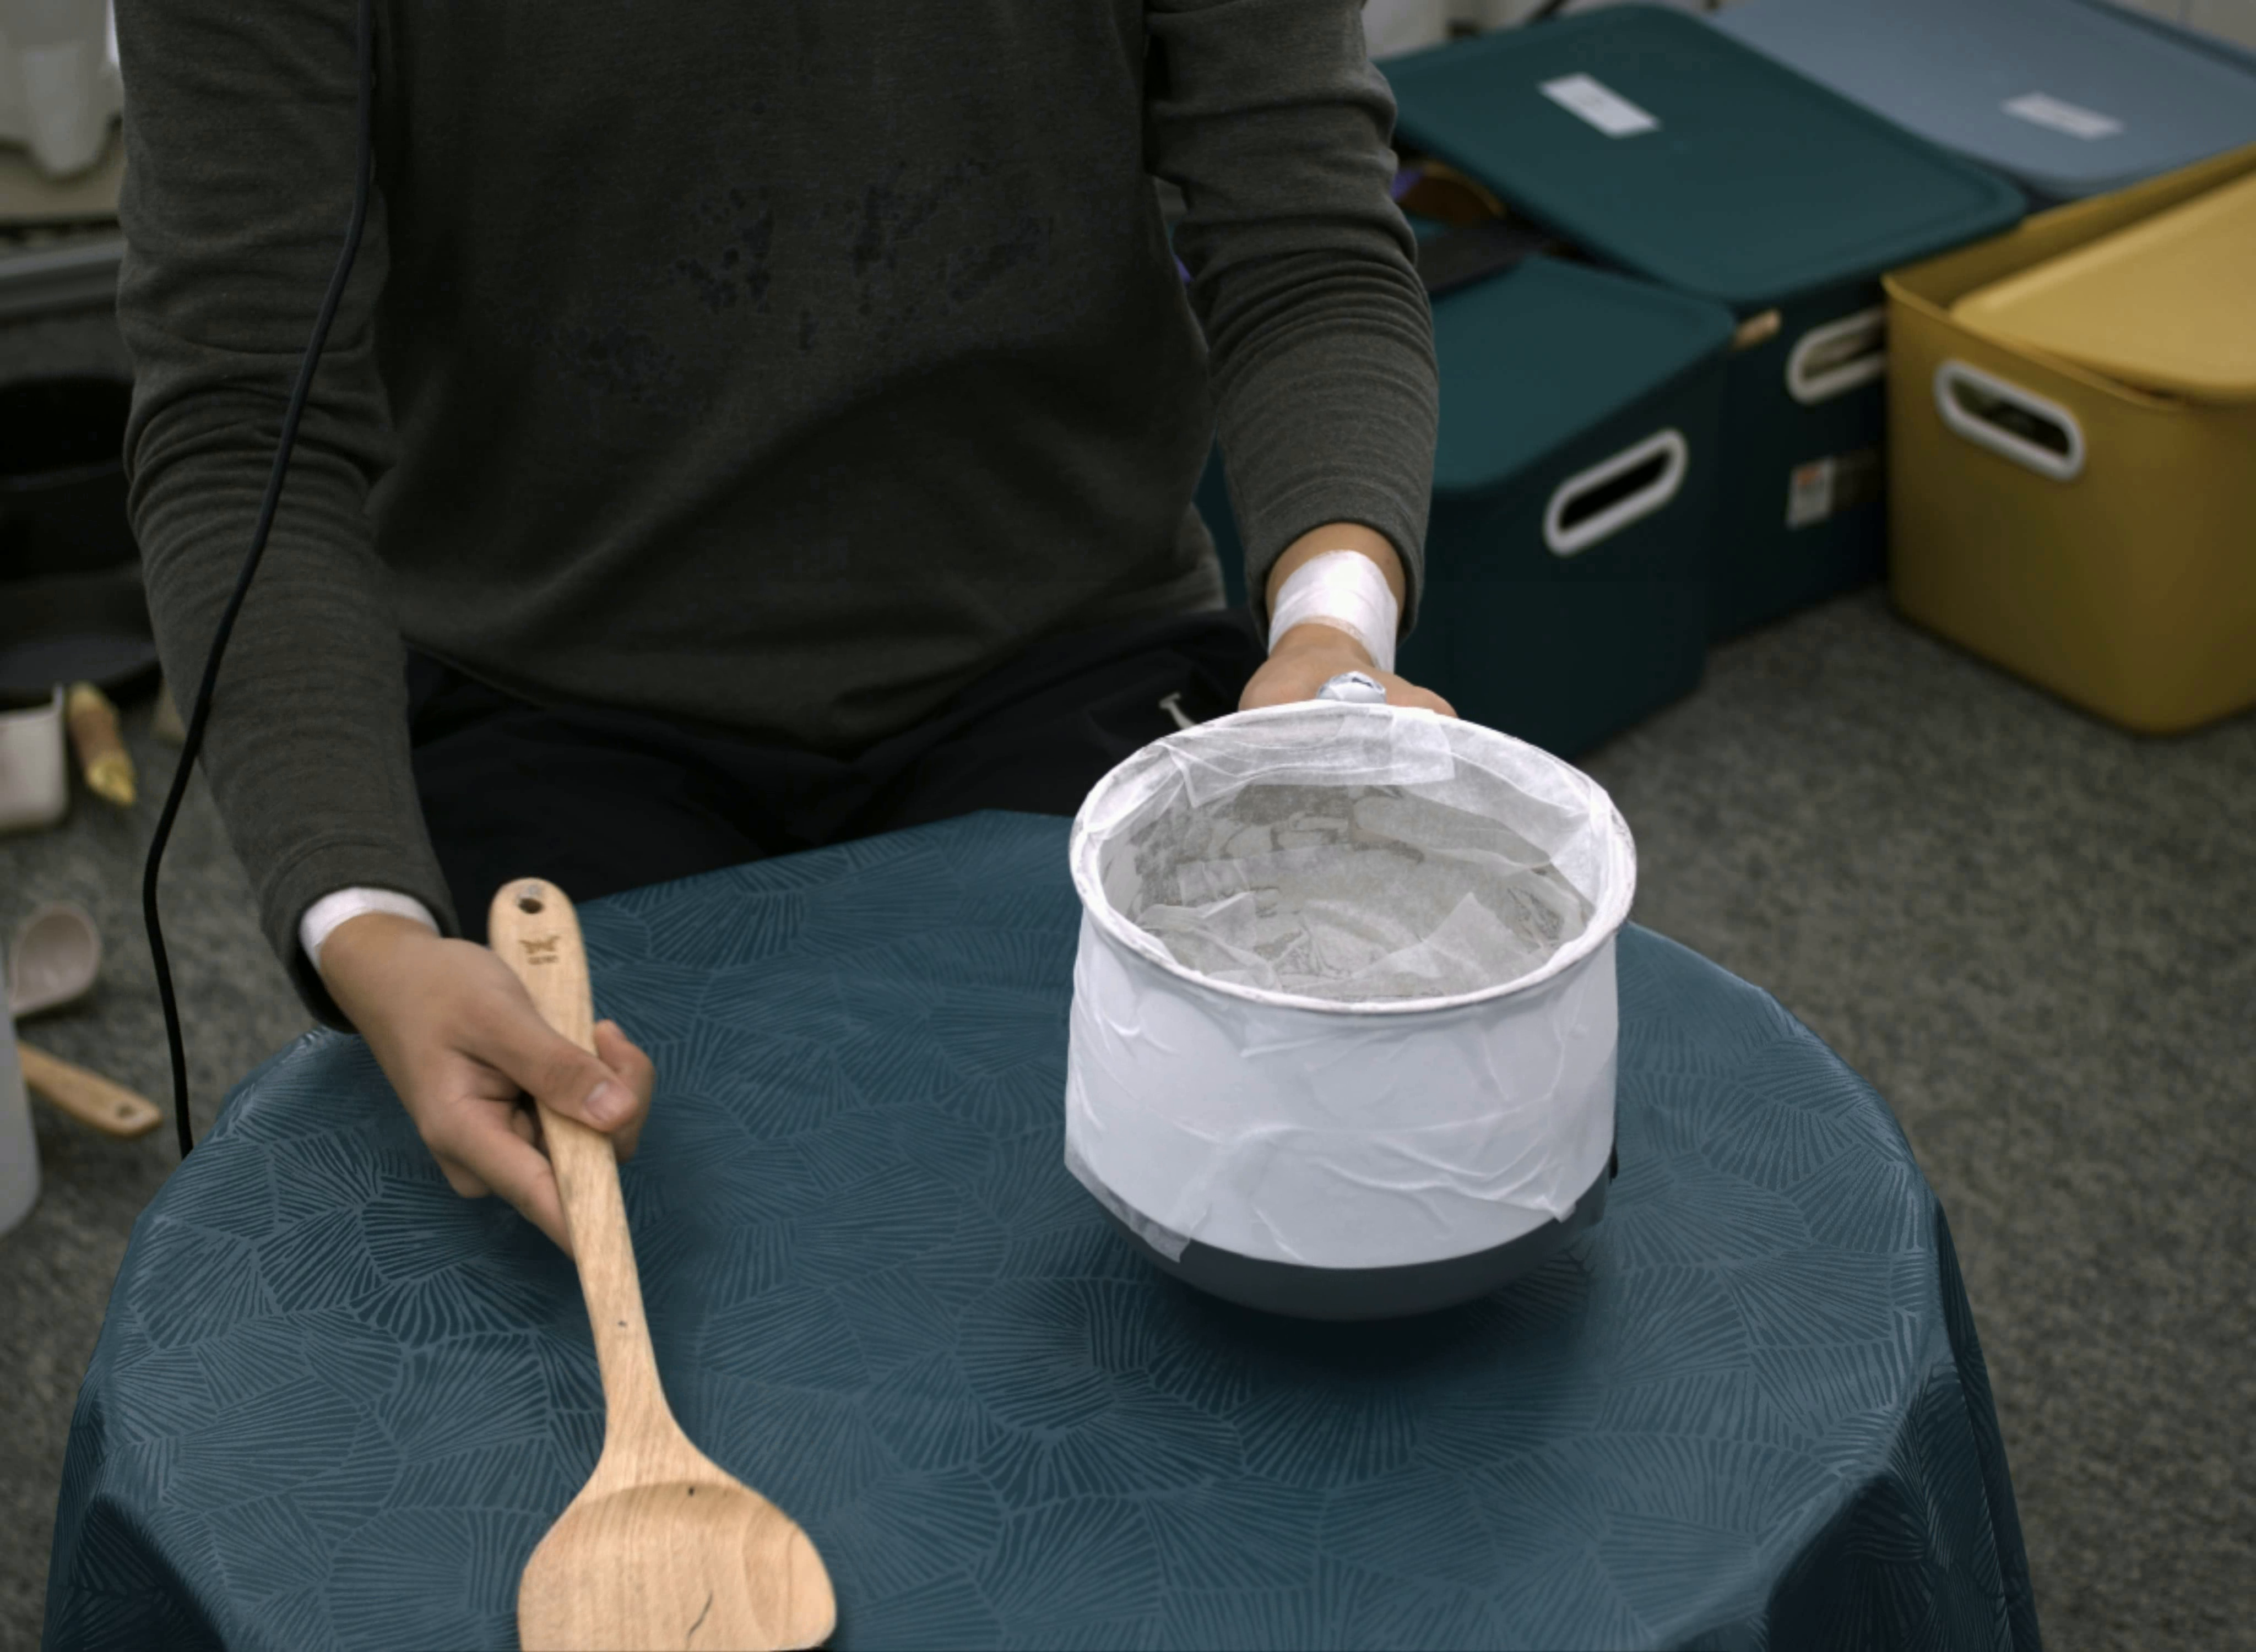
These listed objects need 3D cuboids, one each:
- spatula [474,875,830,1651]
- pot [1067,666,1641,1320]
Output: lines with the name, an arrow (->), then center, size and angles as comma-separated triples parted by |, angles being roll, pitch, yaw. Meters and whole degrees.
spatula -> -0.172, 0.136, 1.768 | 0.096, 0.018, 0.397 | -6, 39, -12
pot -> 0.069, 0.045, 1.798 | 0.178, 0.135, 0.238 | 2, 31, 0
